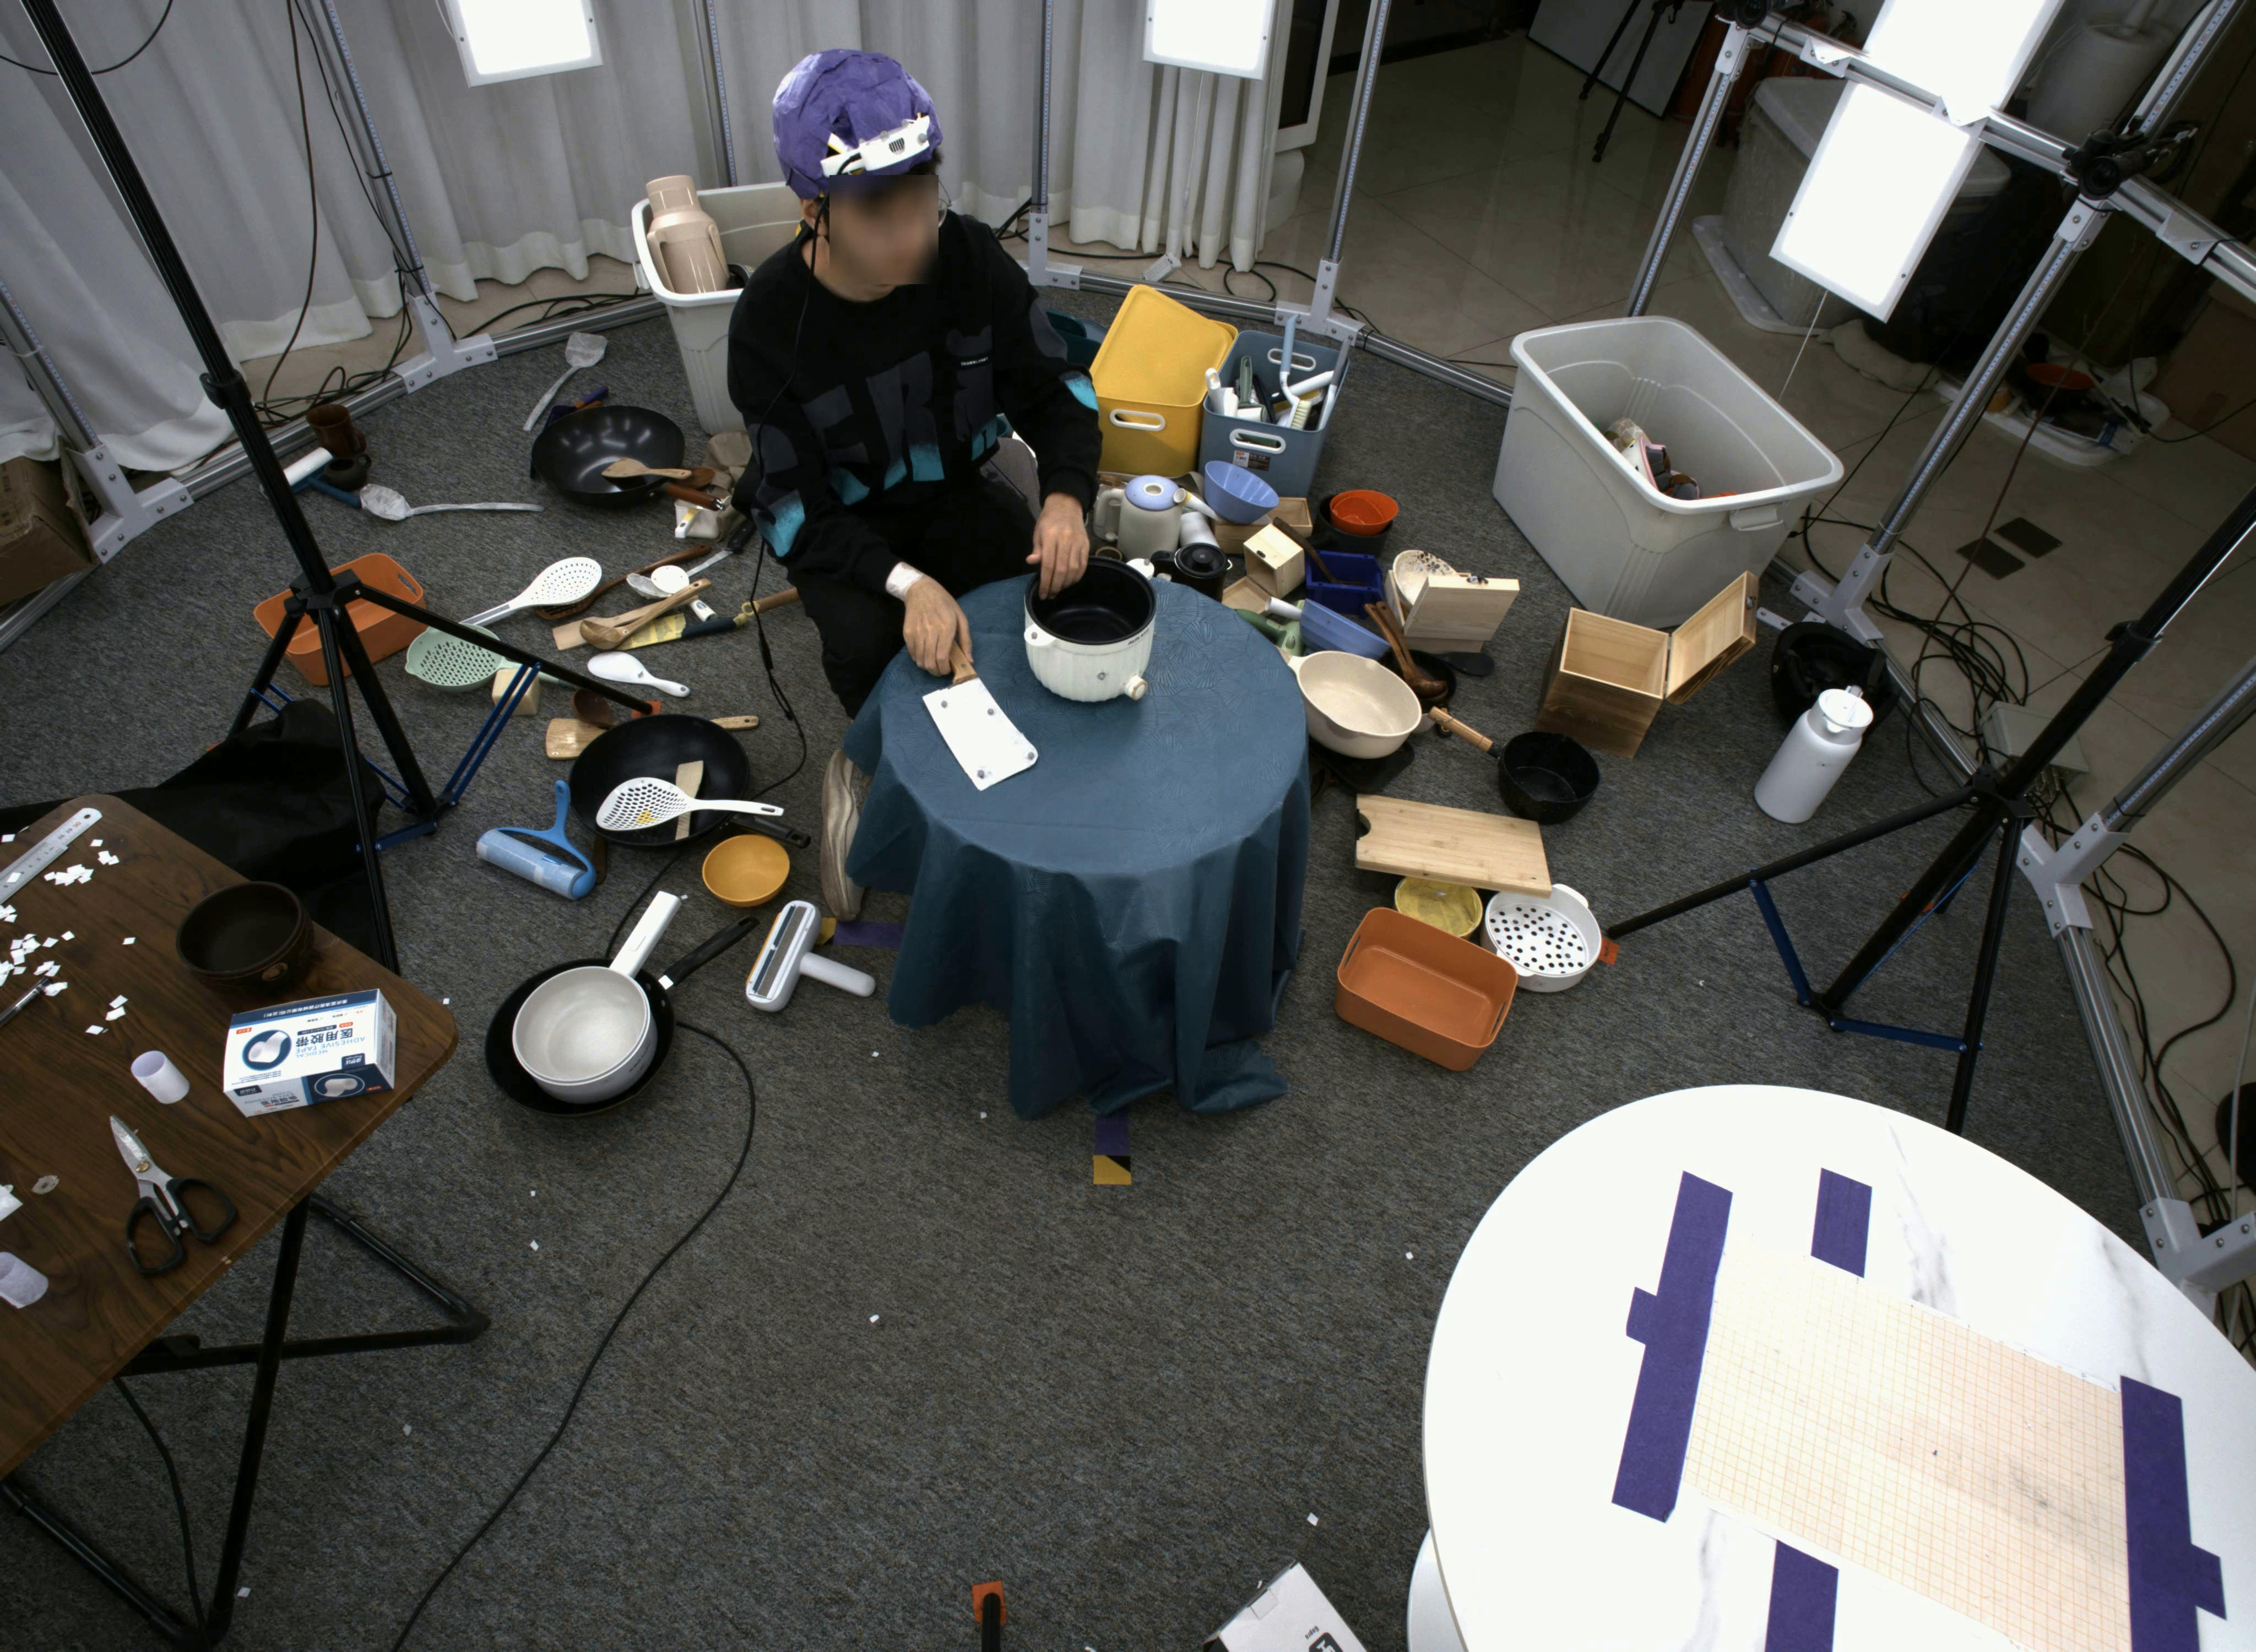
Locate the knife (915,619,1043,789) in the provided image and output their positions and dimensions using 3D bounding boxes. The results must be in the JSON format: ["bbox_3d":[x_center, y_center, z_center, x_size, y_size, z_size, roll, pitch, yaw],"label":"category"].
[{"bbox_3d":[-0.222,-0.178,1.794,0.114,0.021,0.322,-20,56,-15],"label":"knife"}]

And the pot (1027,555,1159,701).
[{"bbox_3d":[-0.046,-0.269,1.809,0.193,0.139,0.243,34,56,27],"label":"pot"}]
